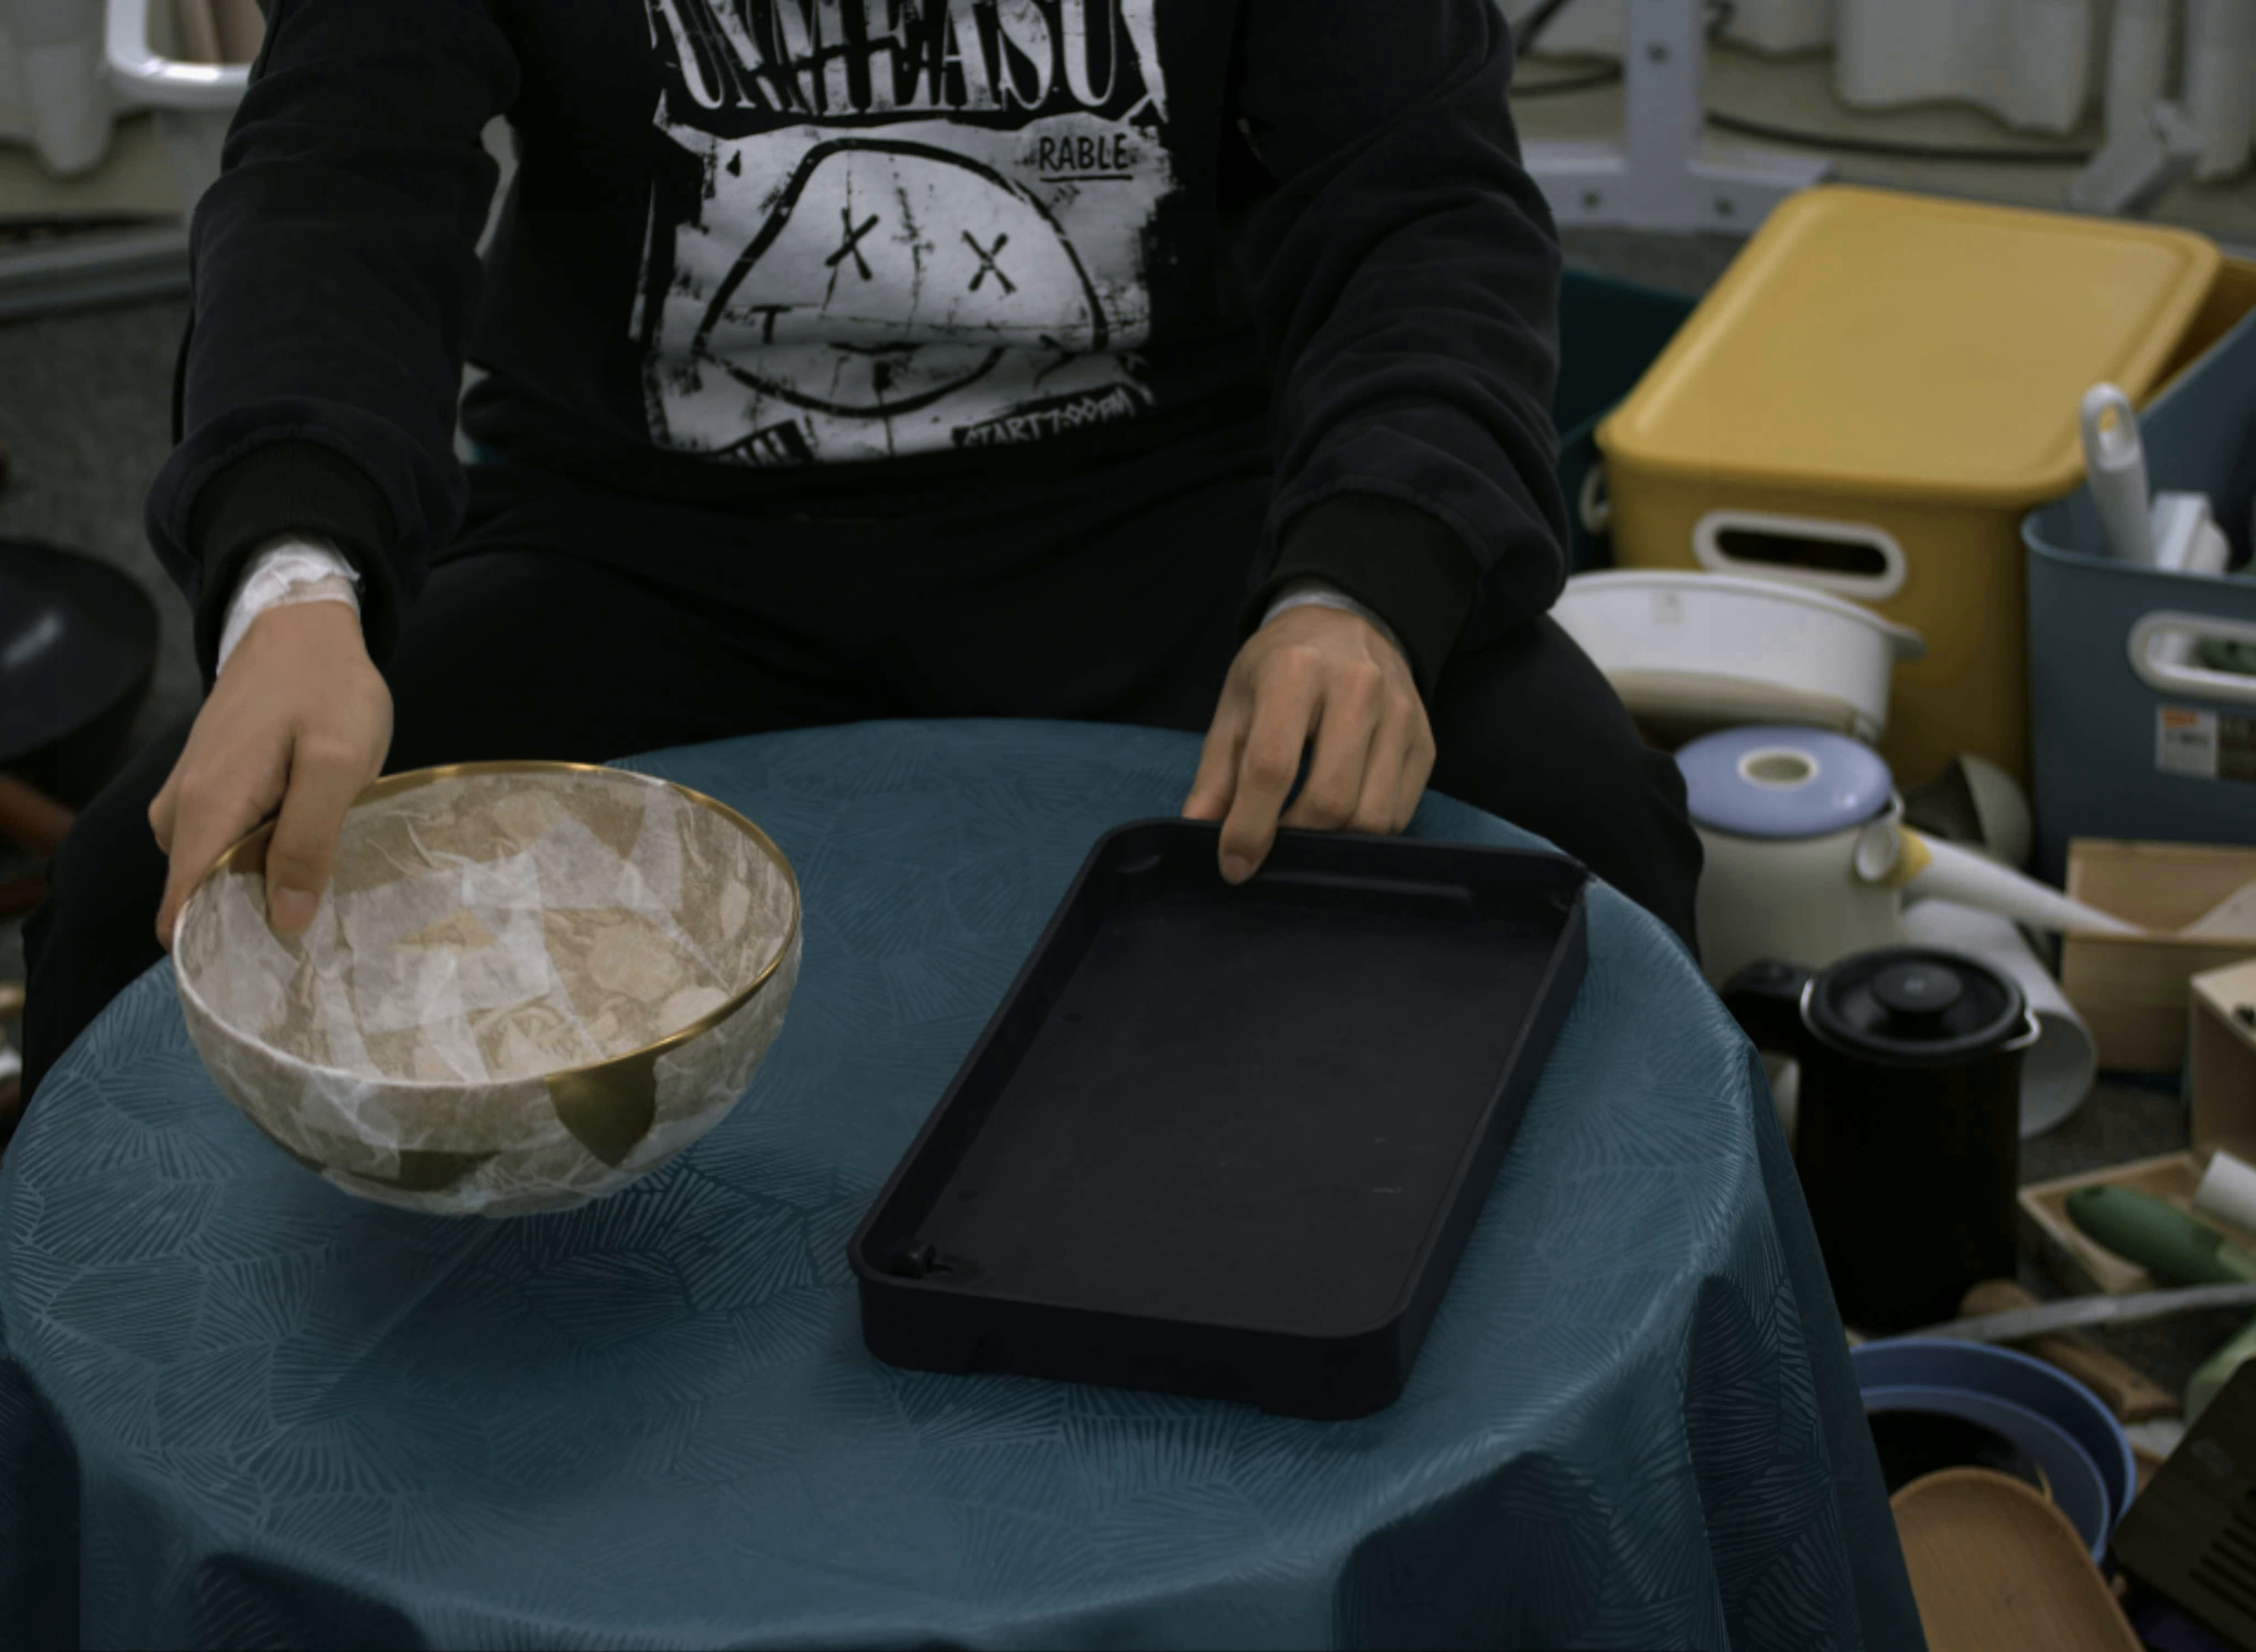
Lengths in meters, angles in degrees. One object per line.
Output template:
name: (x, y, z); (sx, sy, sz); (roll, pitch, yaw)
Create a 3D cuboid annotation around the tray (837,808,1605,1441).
tray: (0.038, 0.092, 1.879); (0.183, 0.036, 0.323); (7, 30, 16)

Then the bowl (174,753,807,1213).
bowl: (-0.200, 0.063, 1.821); (0.214, 0.093, 0.218); (-1, 29, 1)
